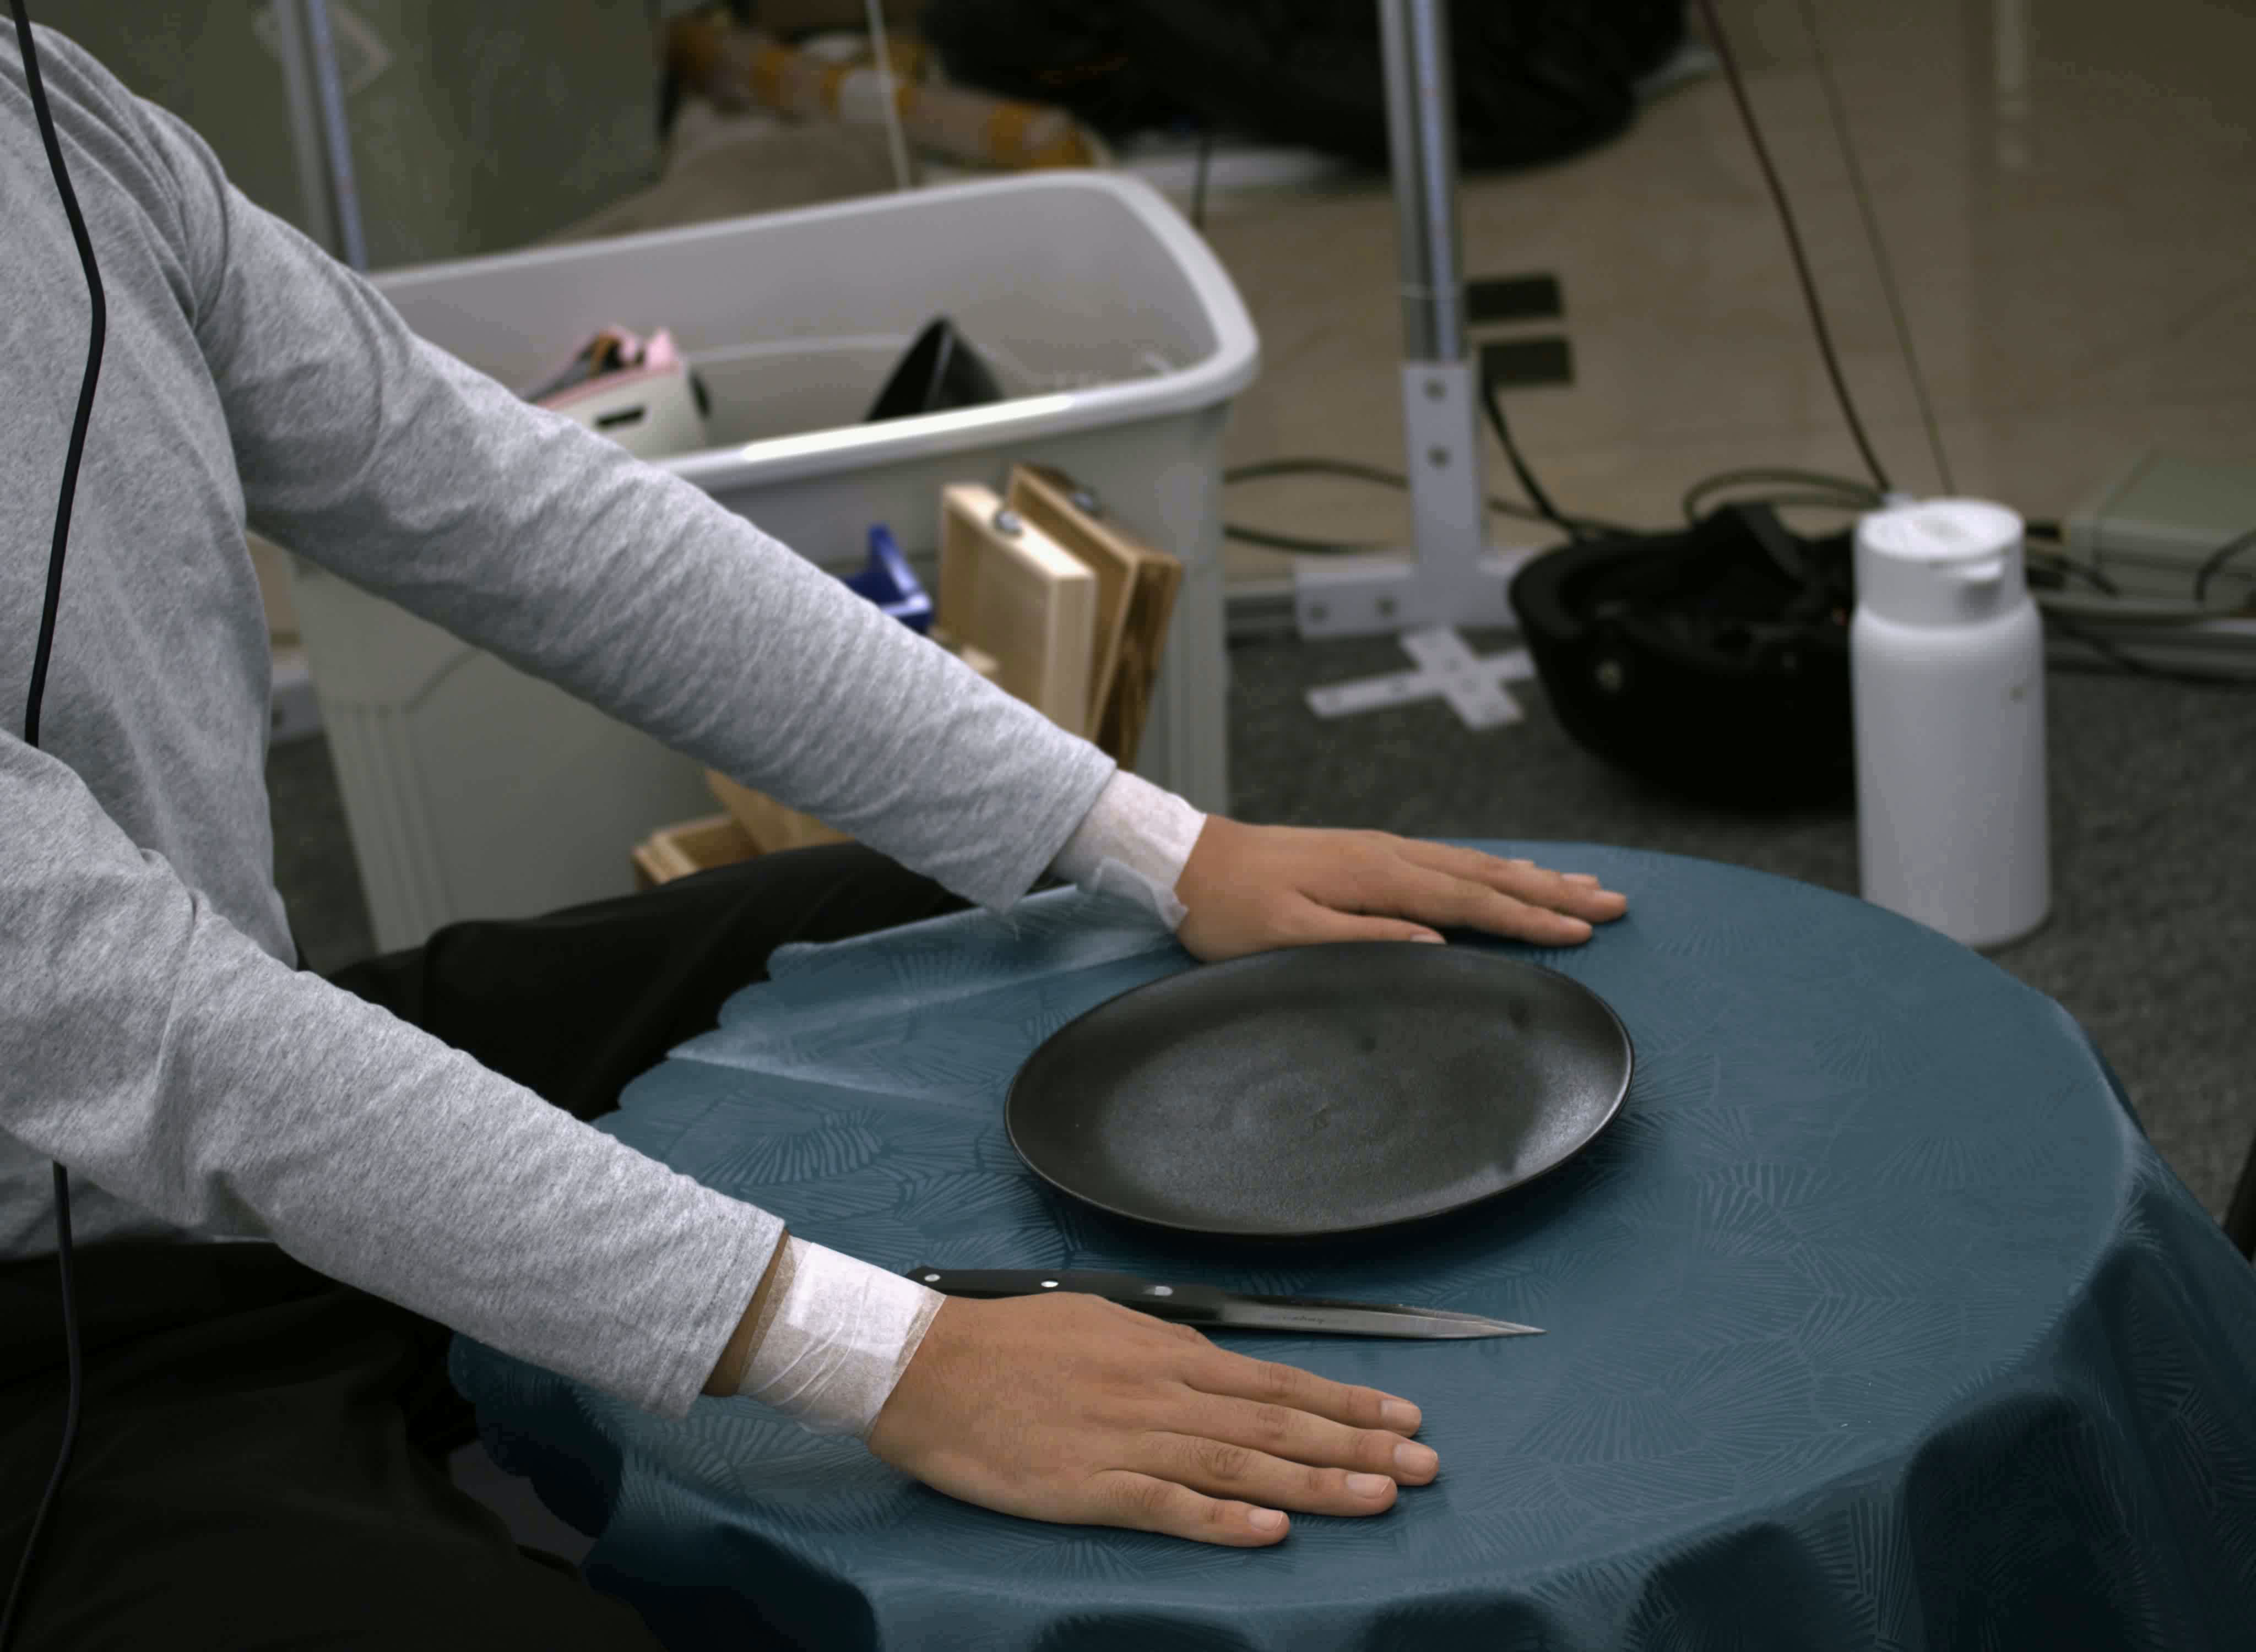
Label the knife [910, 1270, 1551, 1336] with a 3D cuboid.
[{"bbox_3d":[0.035,0.175,2.052,0.237,0.016,0.024,2,27,12],"label":"knife"}]

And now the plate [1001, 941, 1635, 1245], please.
[{"bbox_3d":[0.073,0.107,2.175,0.244,0.024,0.241,-5,25,3],"label":"plate"}]
